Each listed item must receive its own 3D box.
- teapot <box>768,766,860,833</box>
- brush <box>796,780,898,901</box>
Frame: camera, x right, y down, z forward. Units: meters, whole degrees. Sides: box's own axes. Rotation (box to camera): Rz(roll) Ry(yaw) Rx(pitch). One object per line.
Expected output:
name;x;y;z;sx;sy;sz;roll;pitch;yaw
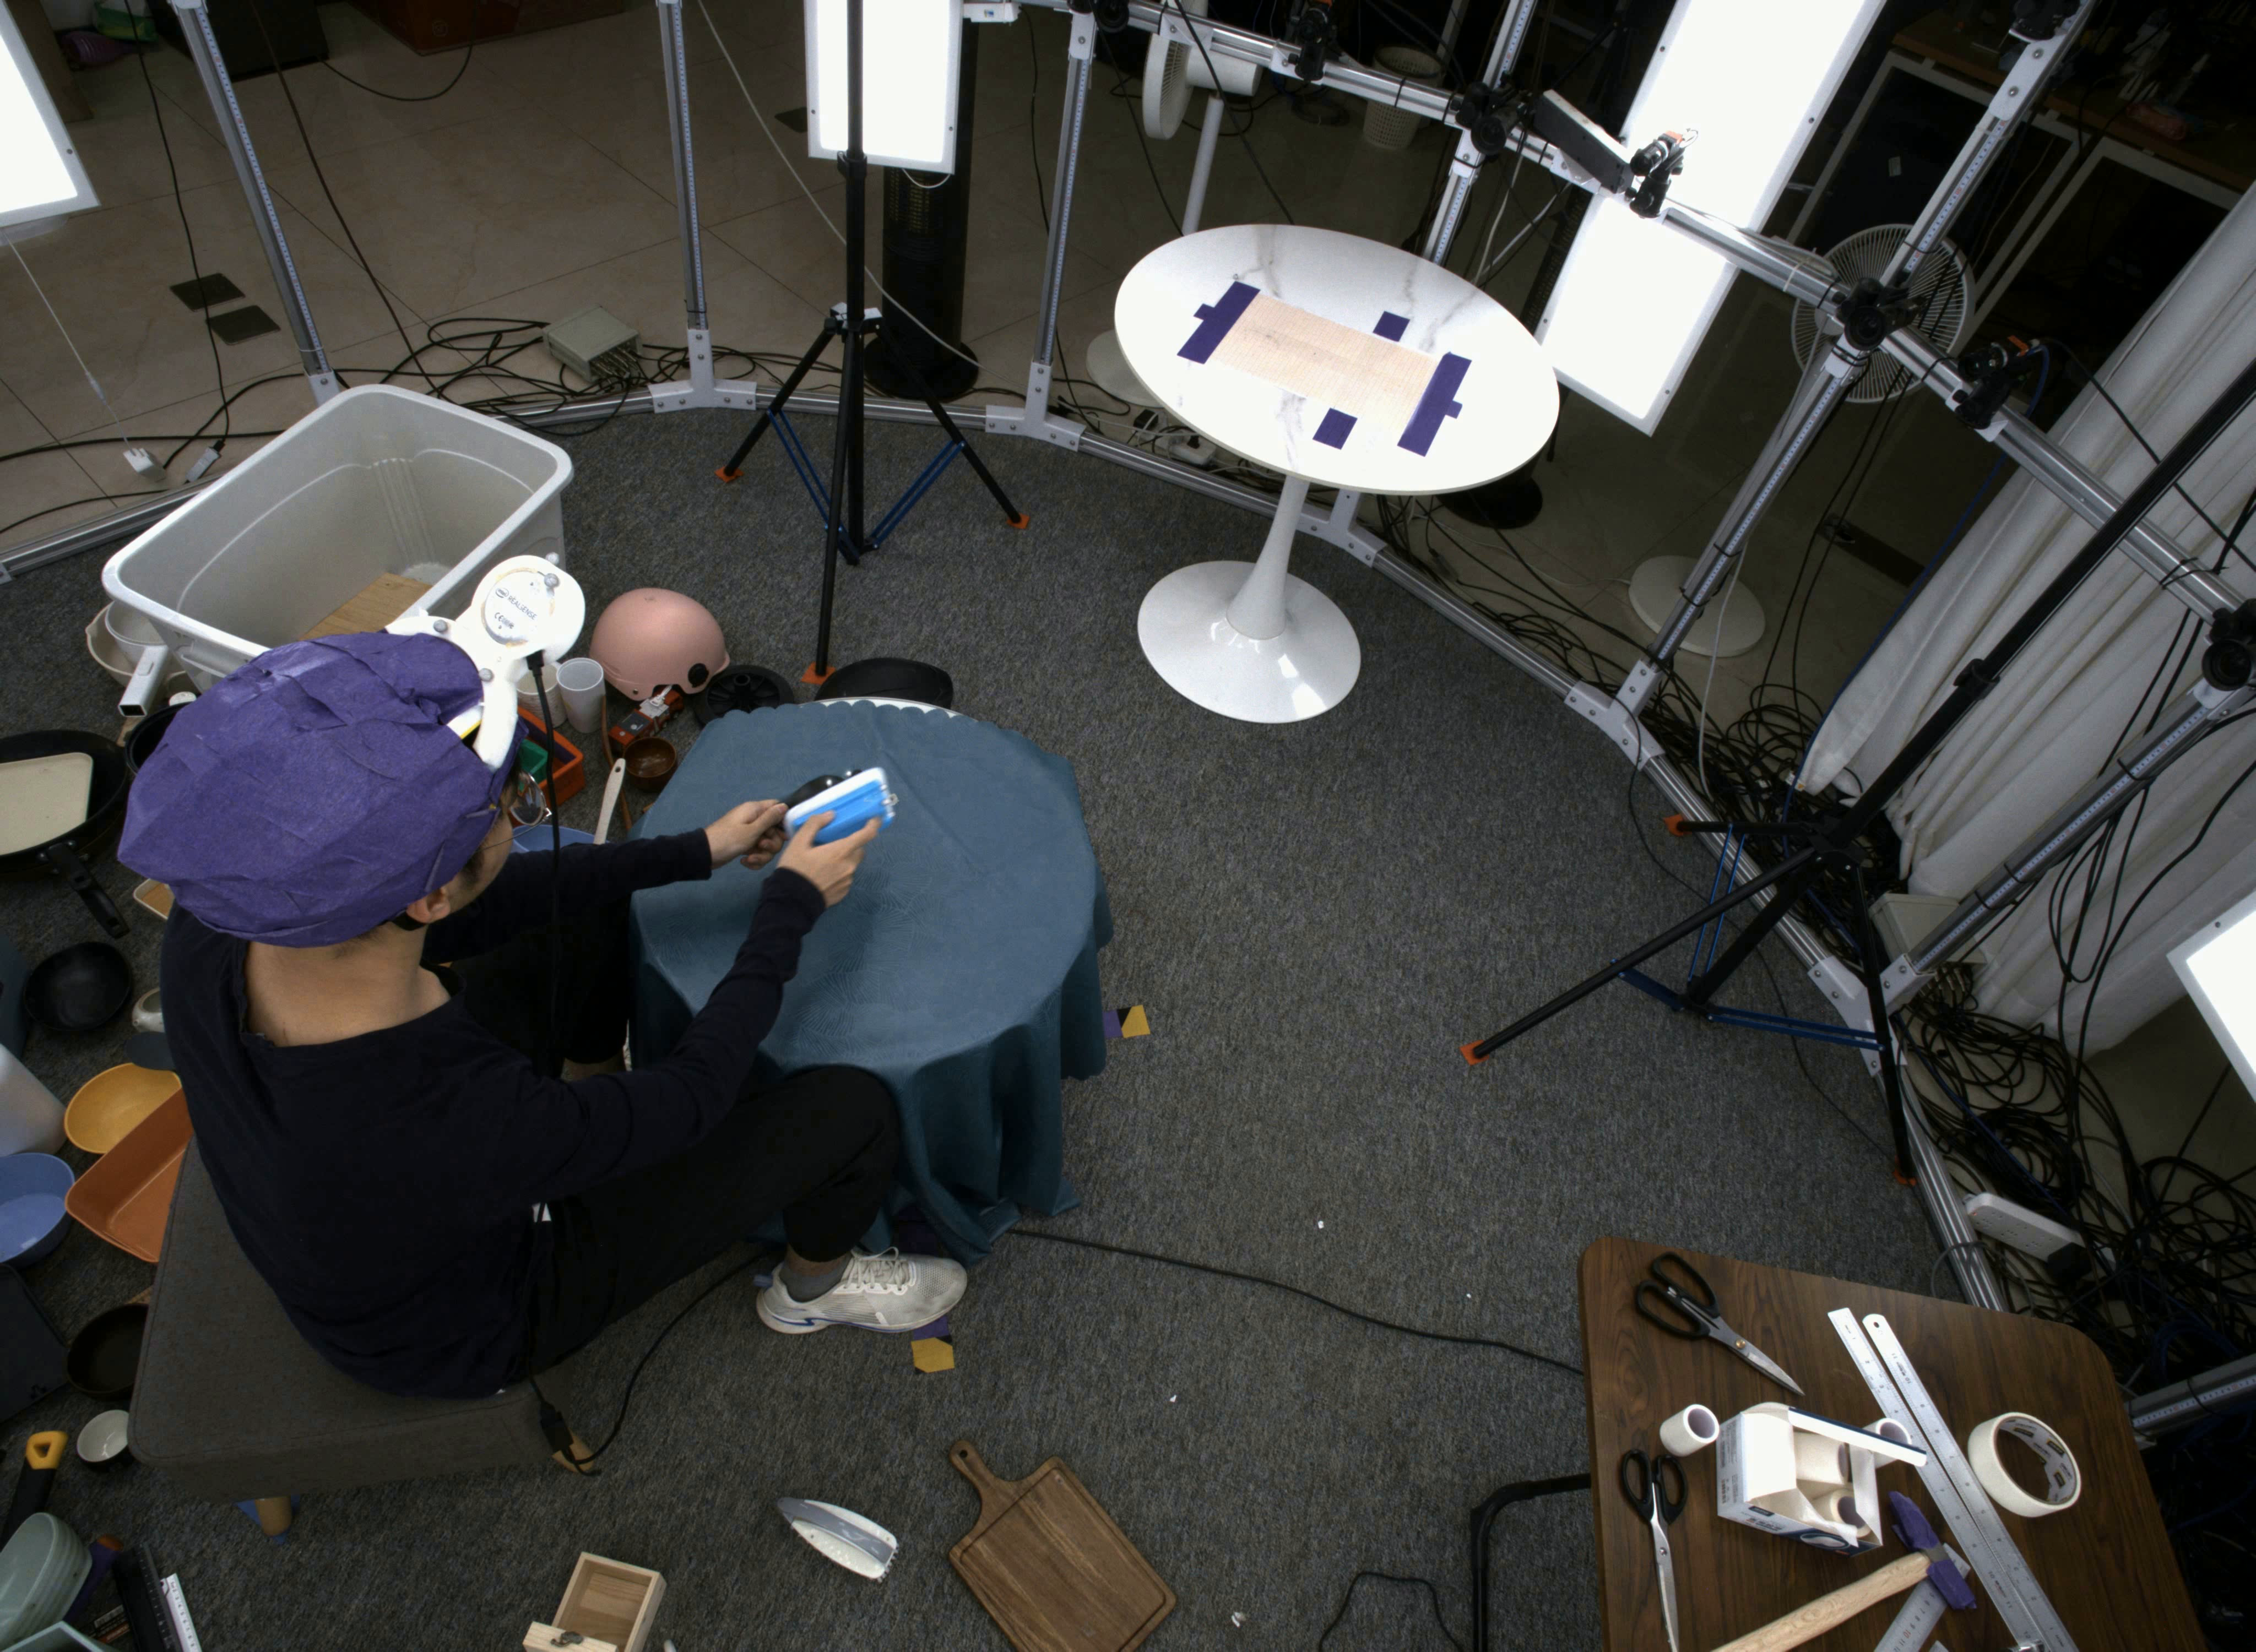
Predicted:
teapot;-0.383;-0.030;1.618;0.134;0.091;0.052;-27;74;-29
brush;-0.335;0.017;1.580;0.054;0.087;0.144;12;59;41
